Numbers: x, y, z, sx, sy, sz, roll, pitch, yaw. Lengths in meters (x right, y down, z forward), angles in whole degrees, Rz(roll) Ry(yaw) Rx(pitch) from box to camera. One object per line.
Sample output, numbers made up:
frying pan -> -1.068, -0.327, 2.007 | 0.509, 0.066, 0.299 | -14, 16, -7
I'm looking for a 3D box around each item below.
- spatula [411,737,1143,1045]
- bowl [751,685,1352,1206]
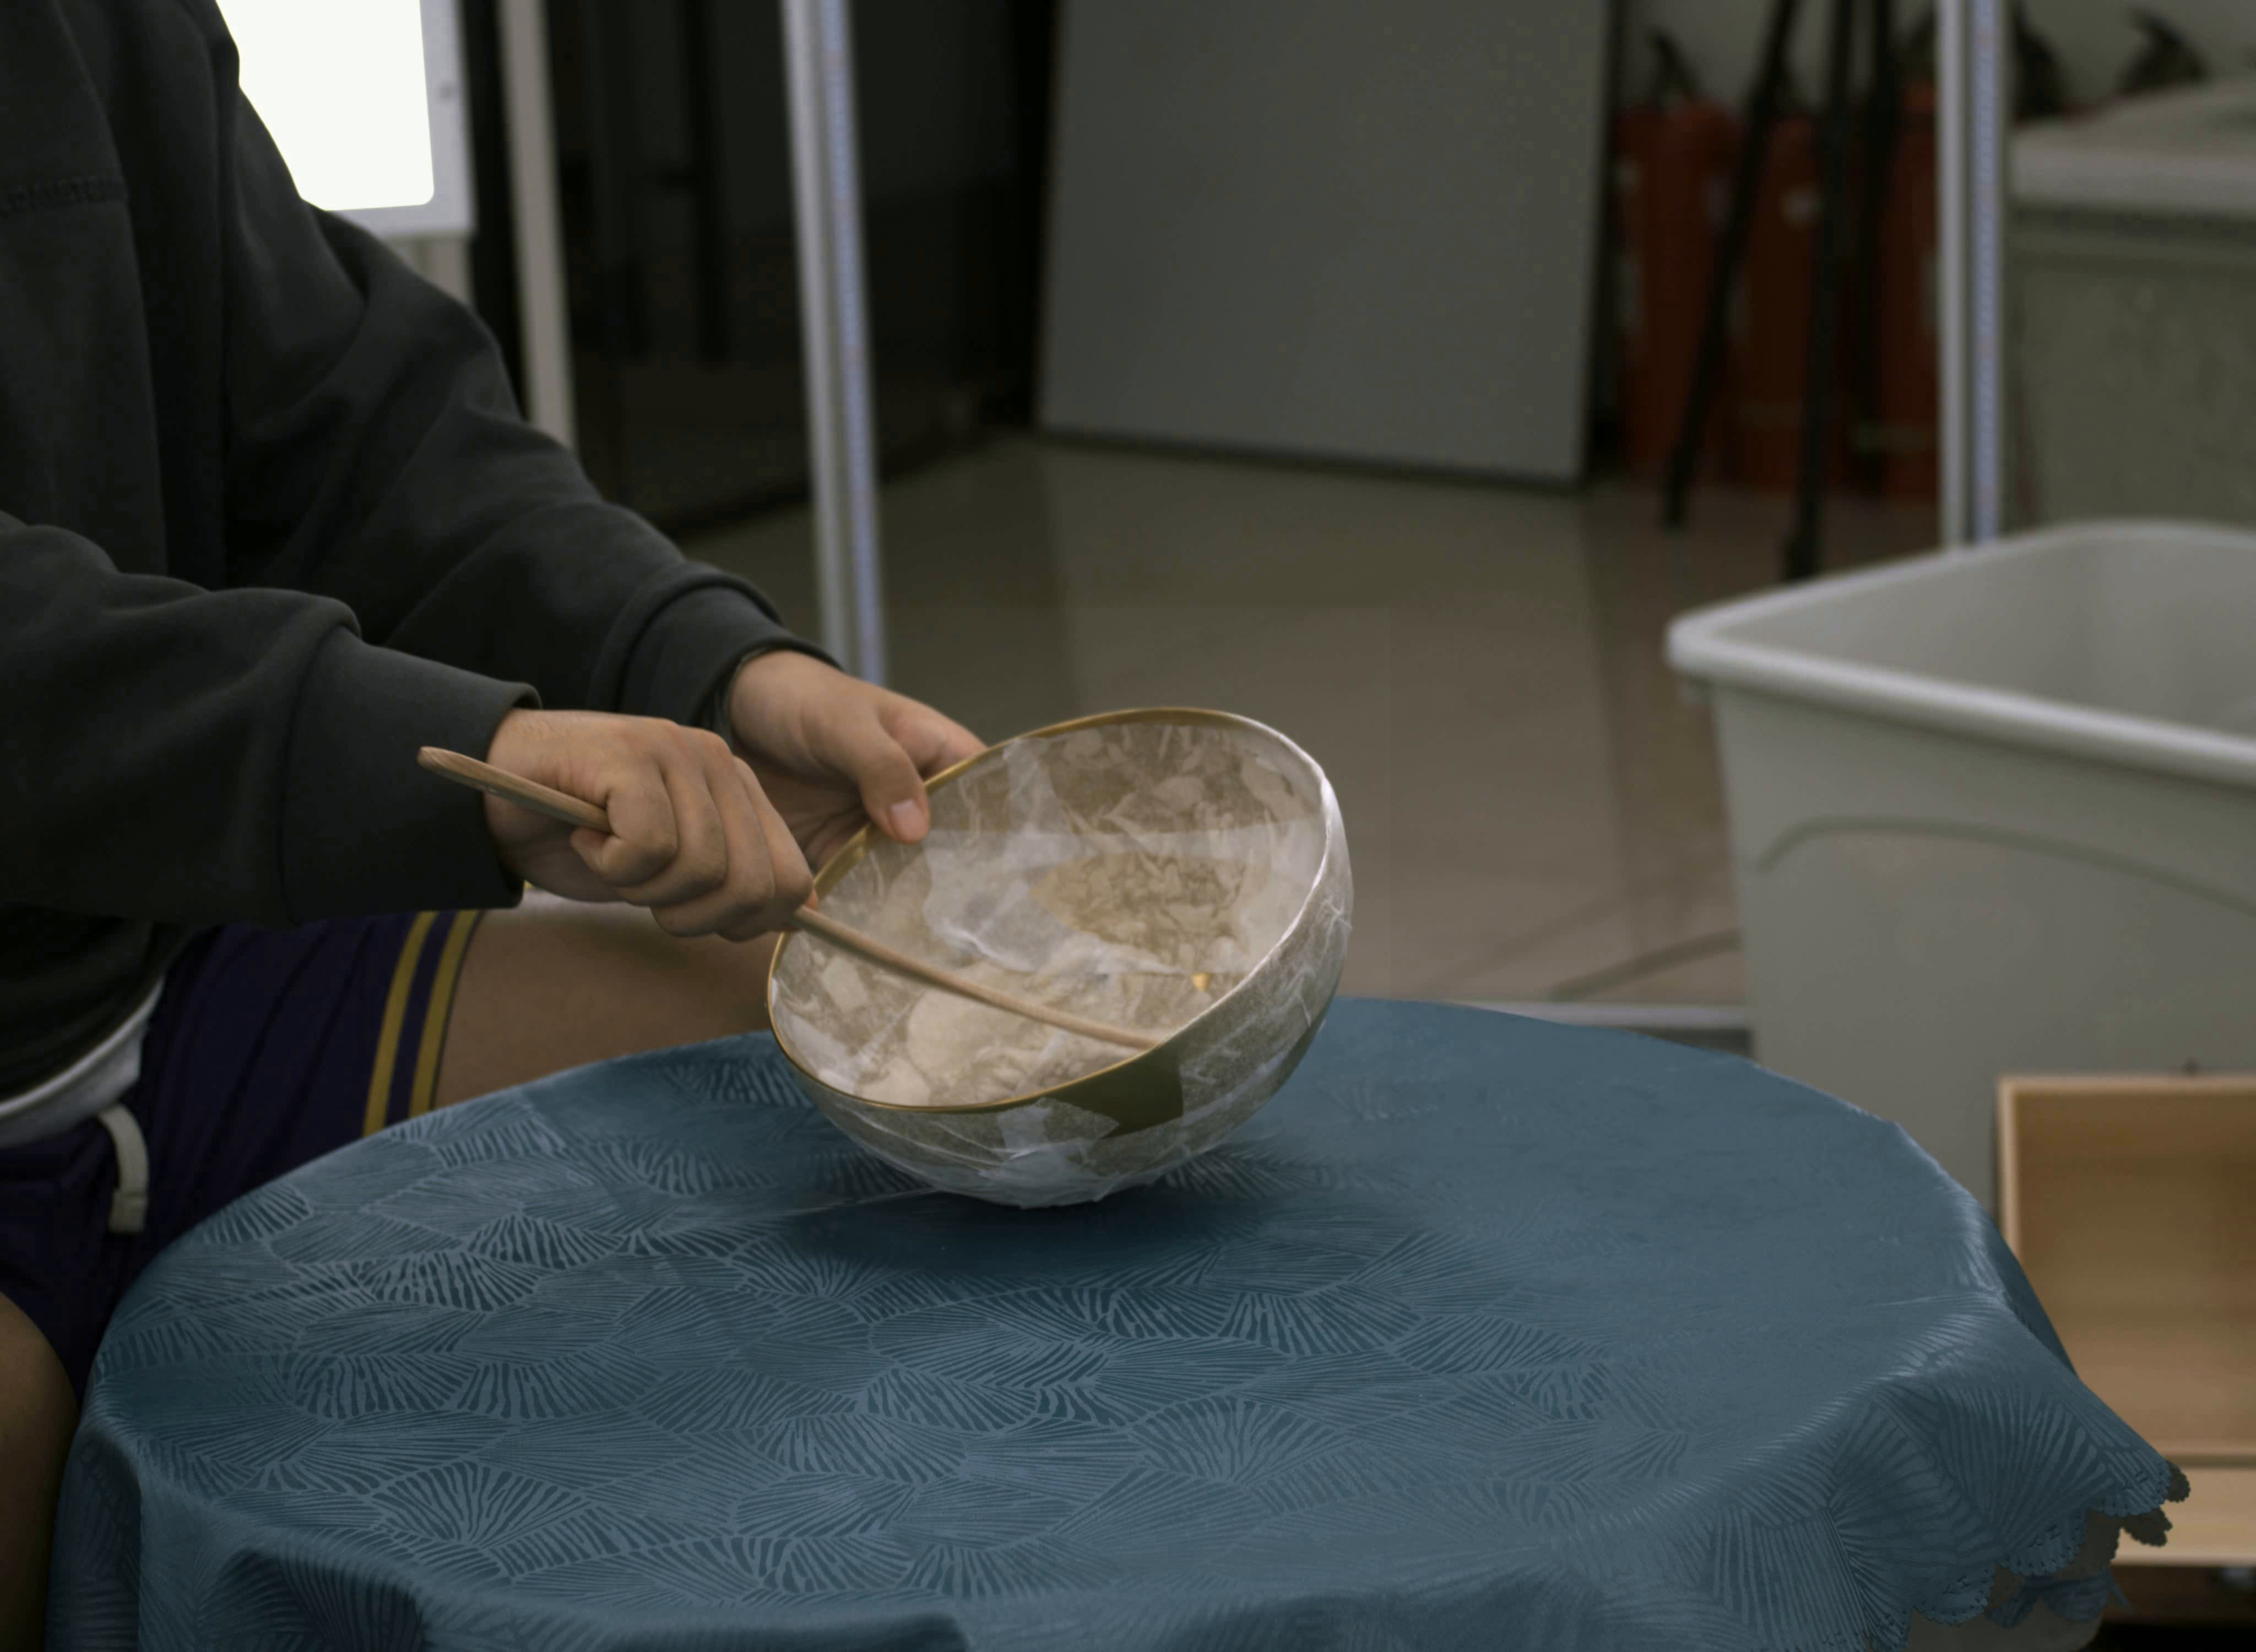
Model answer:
spatula -> -0.099, 0.025, 1.707 | 0.321, 0.016, 0.081 | 26, -8, -41
bowl -> -0.014, 0.056, 1.789 | 0.214, 0.094, 0.216 | -18, 35, 12
